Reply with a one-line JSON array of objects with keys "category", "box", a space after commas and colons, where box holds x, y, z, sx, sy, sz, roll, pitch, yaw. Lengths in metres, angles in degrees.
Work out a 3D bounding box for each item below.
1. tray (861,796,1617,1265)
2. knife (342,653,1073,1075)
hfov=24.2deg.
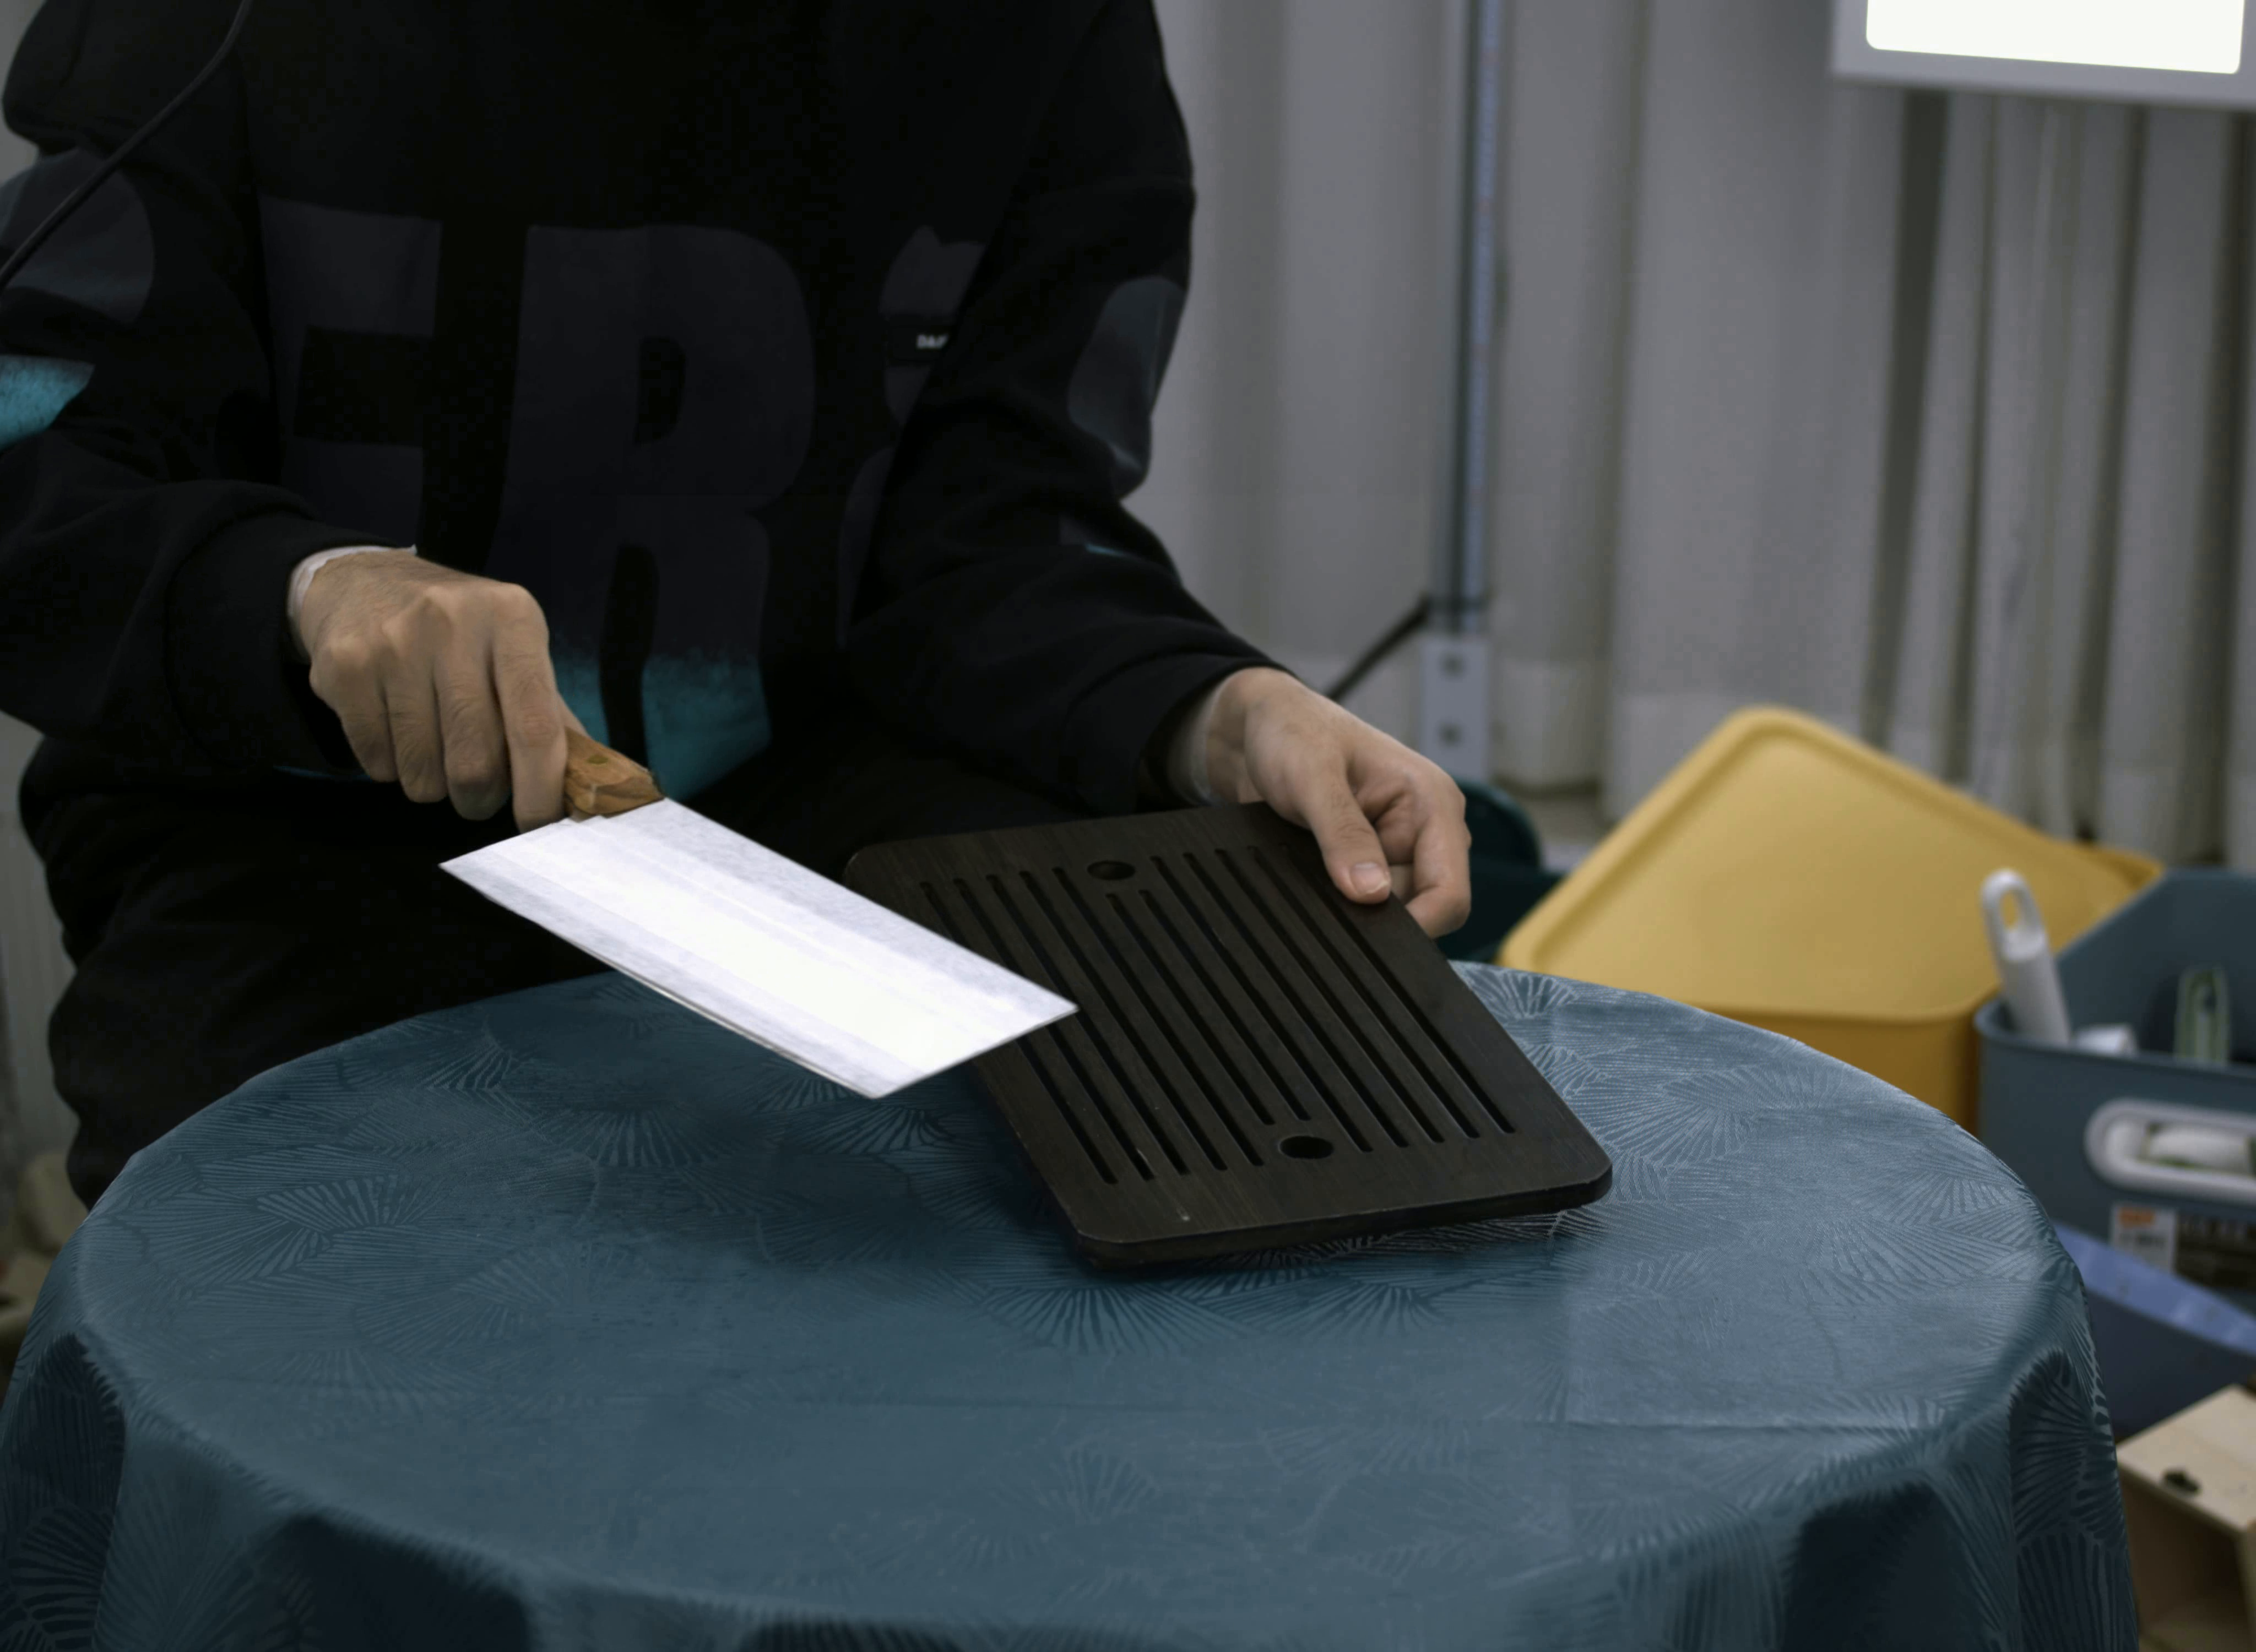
[{"category": "tray", "box": [0.028, 0.062, 1.695, 0.170, 0.019, 0.302, -6, 24, -15]}, {"category": "knife", "box": [-0.154, 0.012, 1.641, 0.301, 0.021, 0.093, 25, 33, 34]}]
